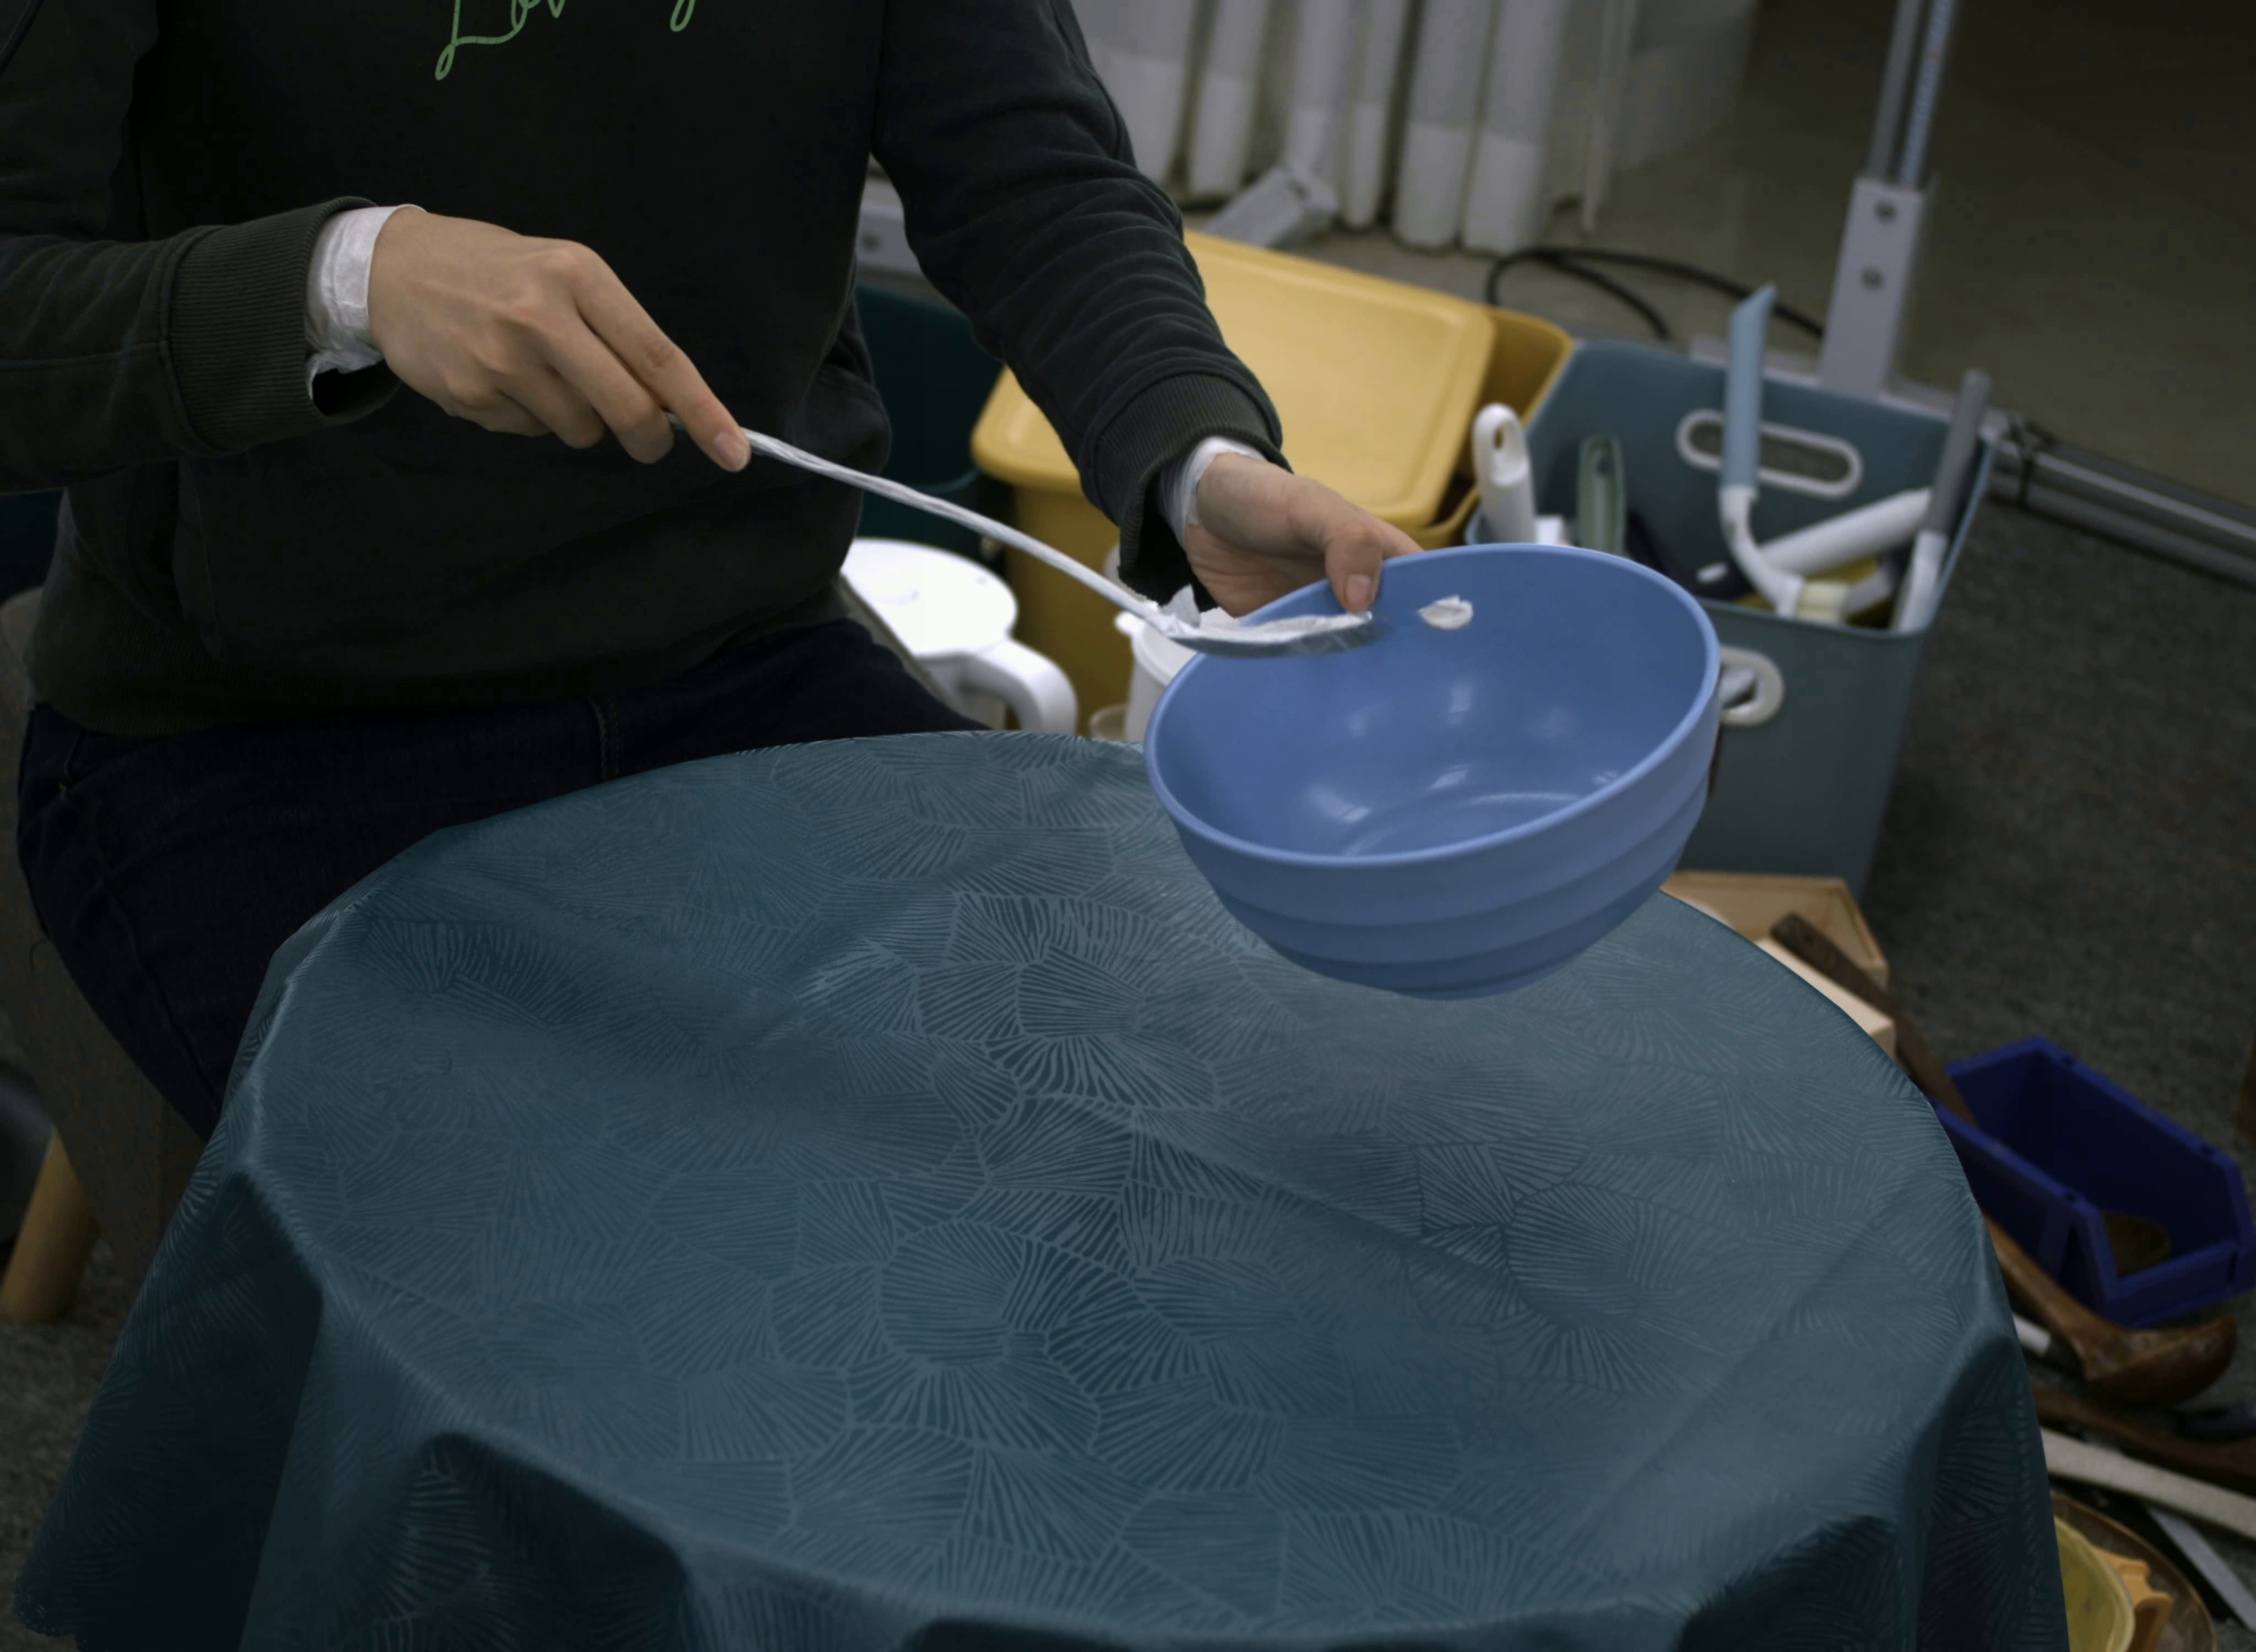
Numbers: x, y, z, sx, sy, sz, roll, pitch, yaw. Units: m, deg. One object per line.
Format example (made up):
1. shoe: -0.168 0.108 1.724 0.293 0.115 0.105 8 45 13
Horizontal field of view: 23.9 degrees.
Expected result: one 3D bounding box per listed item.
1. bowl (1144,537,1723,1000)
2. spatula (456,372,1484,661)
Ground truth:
1. bowl: 0.110 -0.006 1.795 0.196 0.095 0.198 -11 32 6
2. spatula: -0.060 -0.110 1.775 0.365 0.045 0.098 20 11 12
